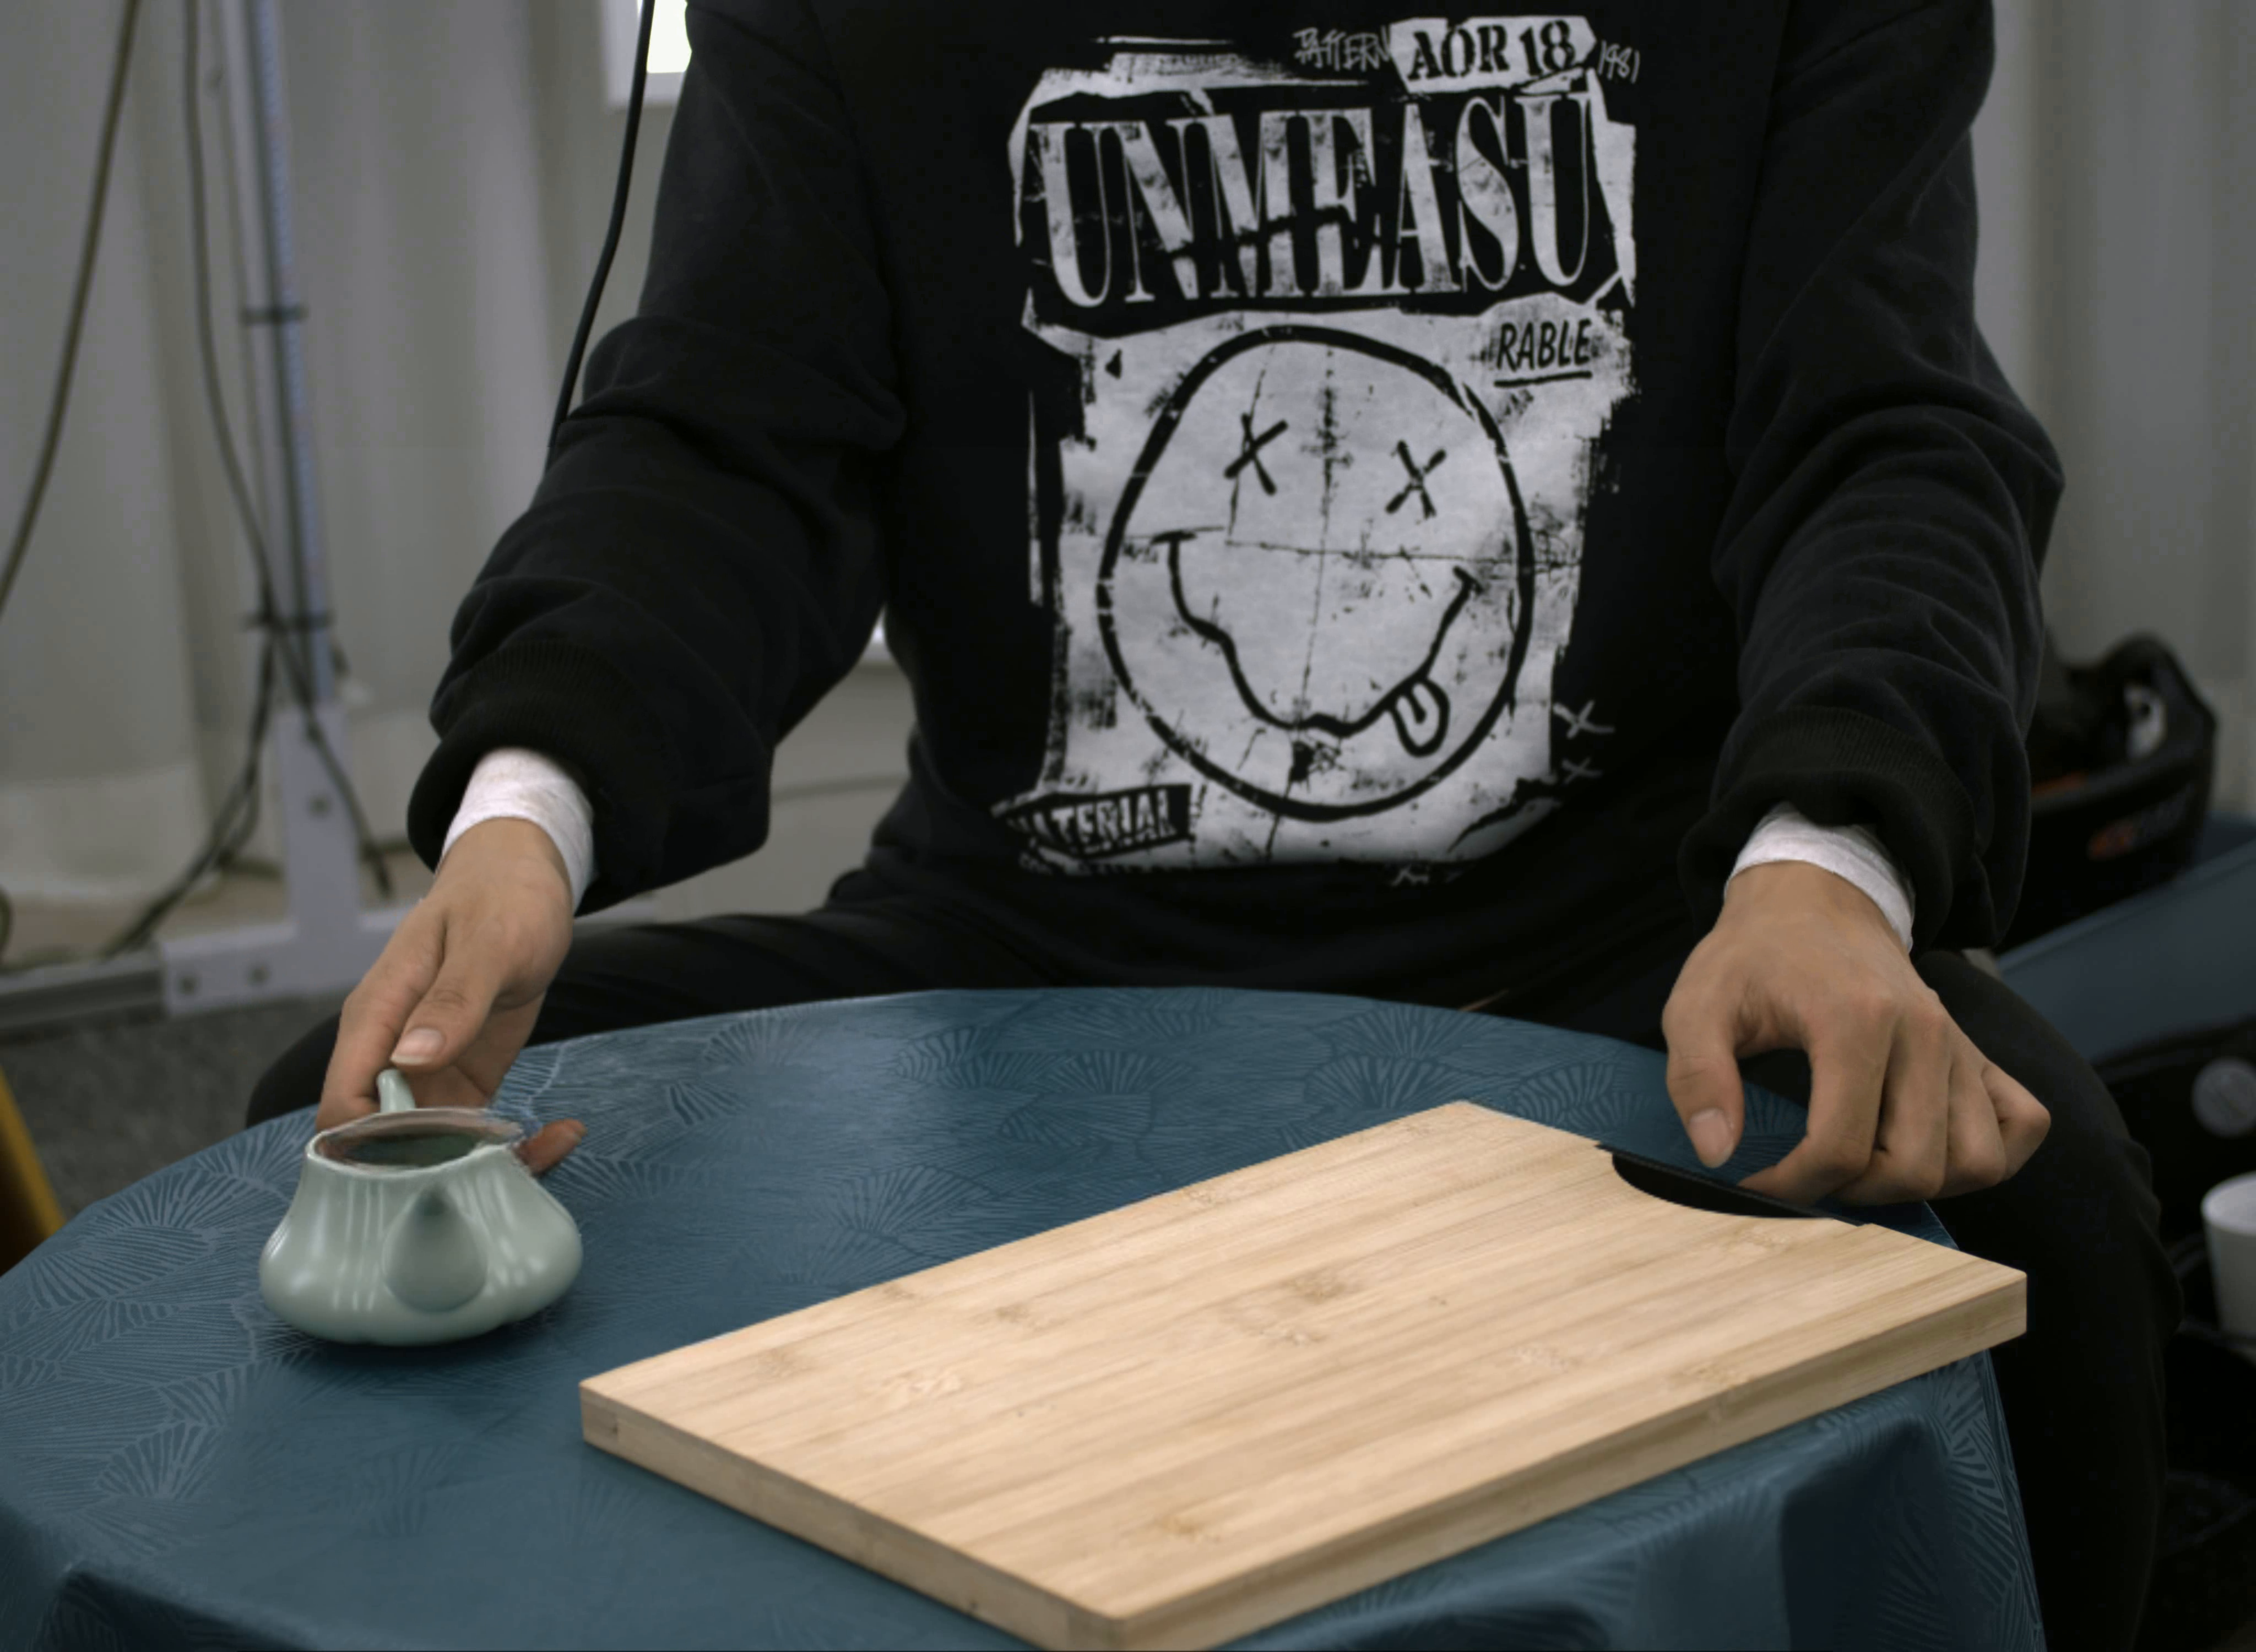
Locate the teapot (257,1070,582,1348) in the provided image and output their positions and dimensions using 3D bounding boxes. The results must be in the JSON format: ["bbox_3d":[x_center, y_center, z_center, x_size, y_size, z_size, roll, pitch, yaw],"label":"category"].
[{"bbox_3d":[-0.213,0.117,1.630,0.096,0.061,0.138,-8,16,-14],"label":"teapot"}]

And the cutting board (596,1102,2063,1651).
[{"bbox_3d":[0.056,0.150,1.541,0.348,0.023,0.252,-15,19,-38],"label":"cutting board"}]
